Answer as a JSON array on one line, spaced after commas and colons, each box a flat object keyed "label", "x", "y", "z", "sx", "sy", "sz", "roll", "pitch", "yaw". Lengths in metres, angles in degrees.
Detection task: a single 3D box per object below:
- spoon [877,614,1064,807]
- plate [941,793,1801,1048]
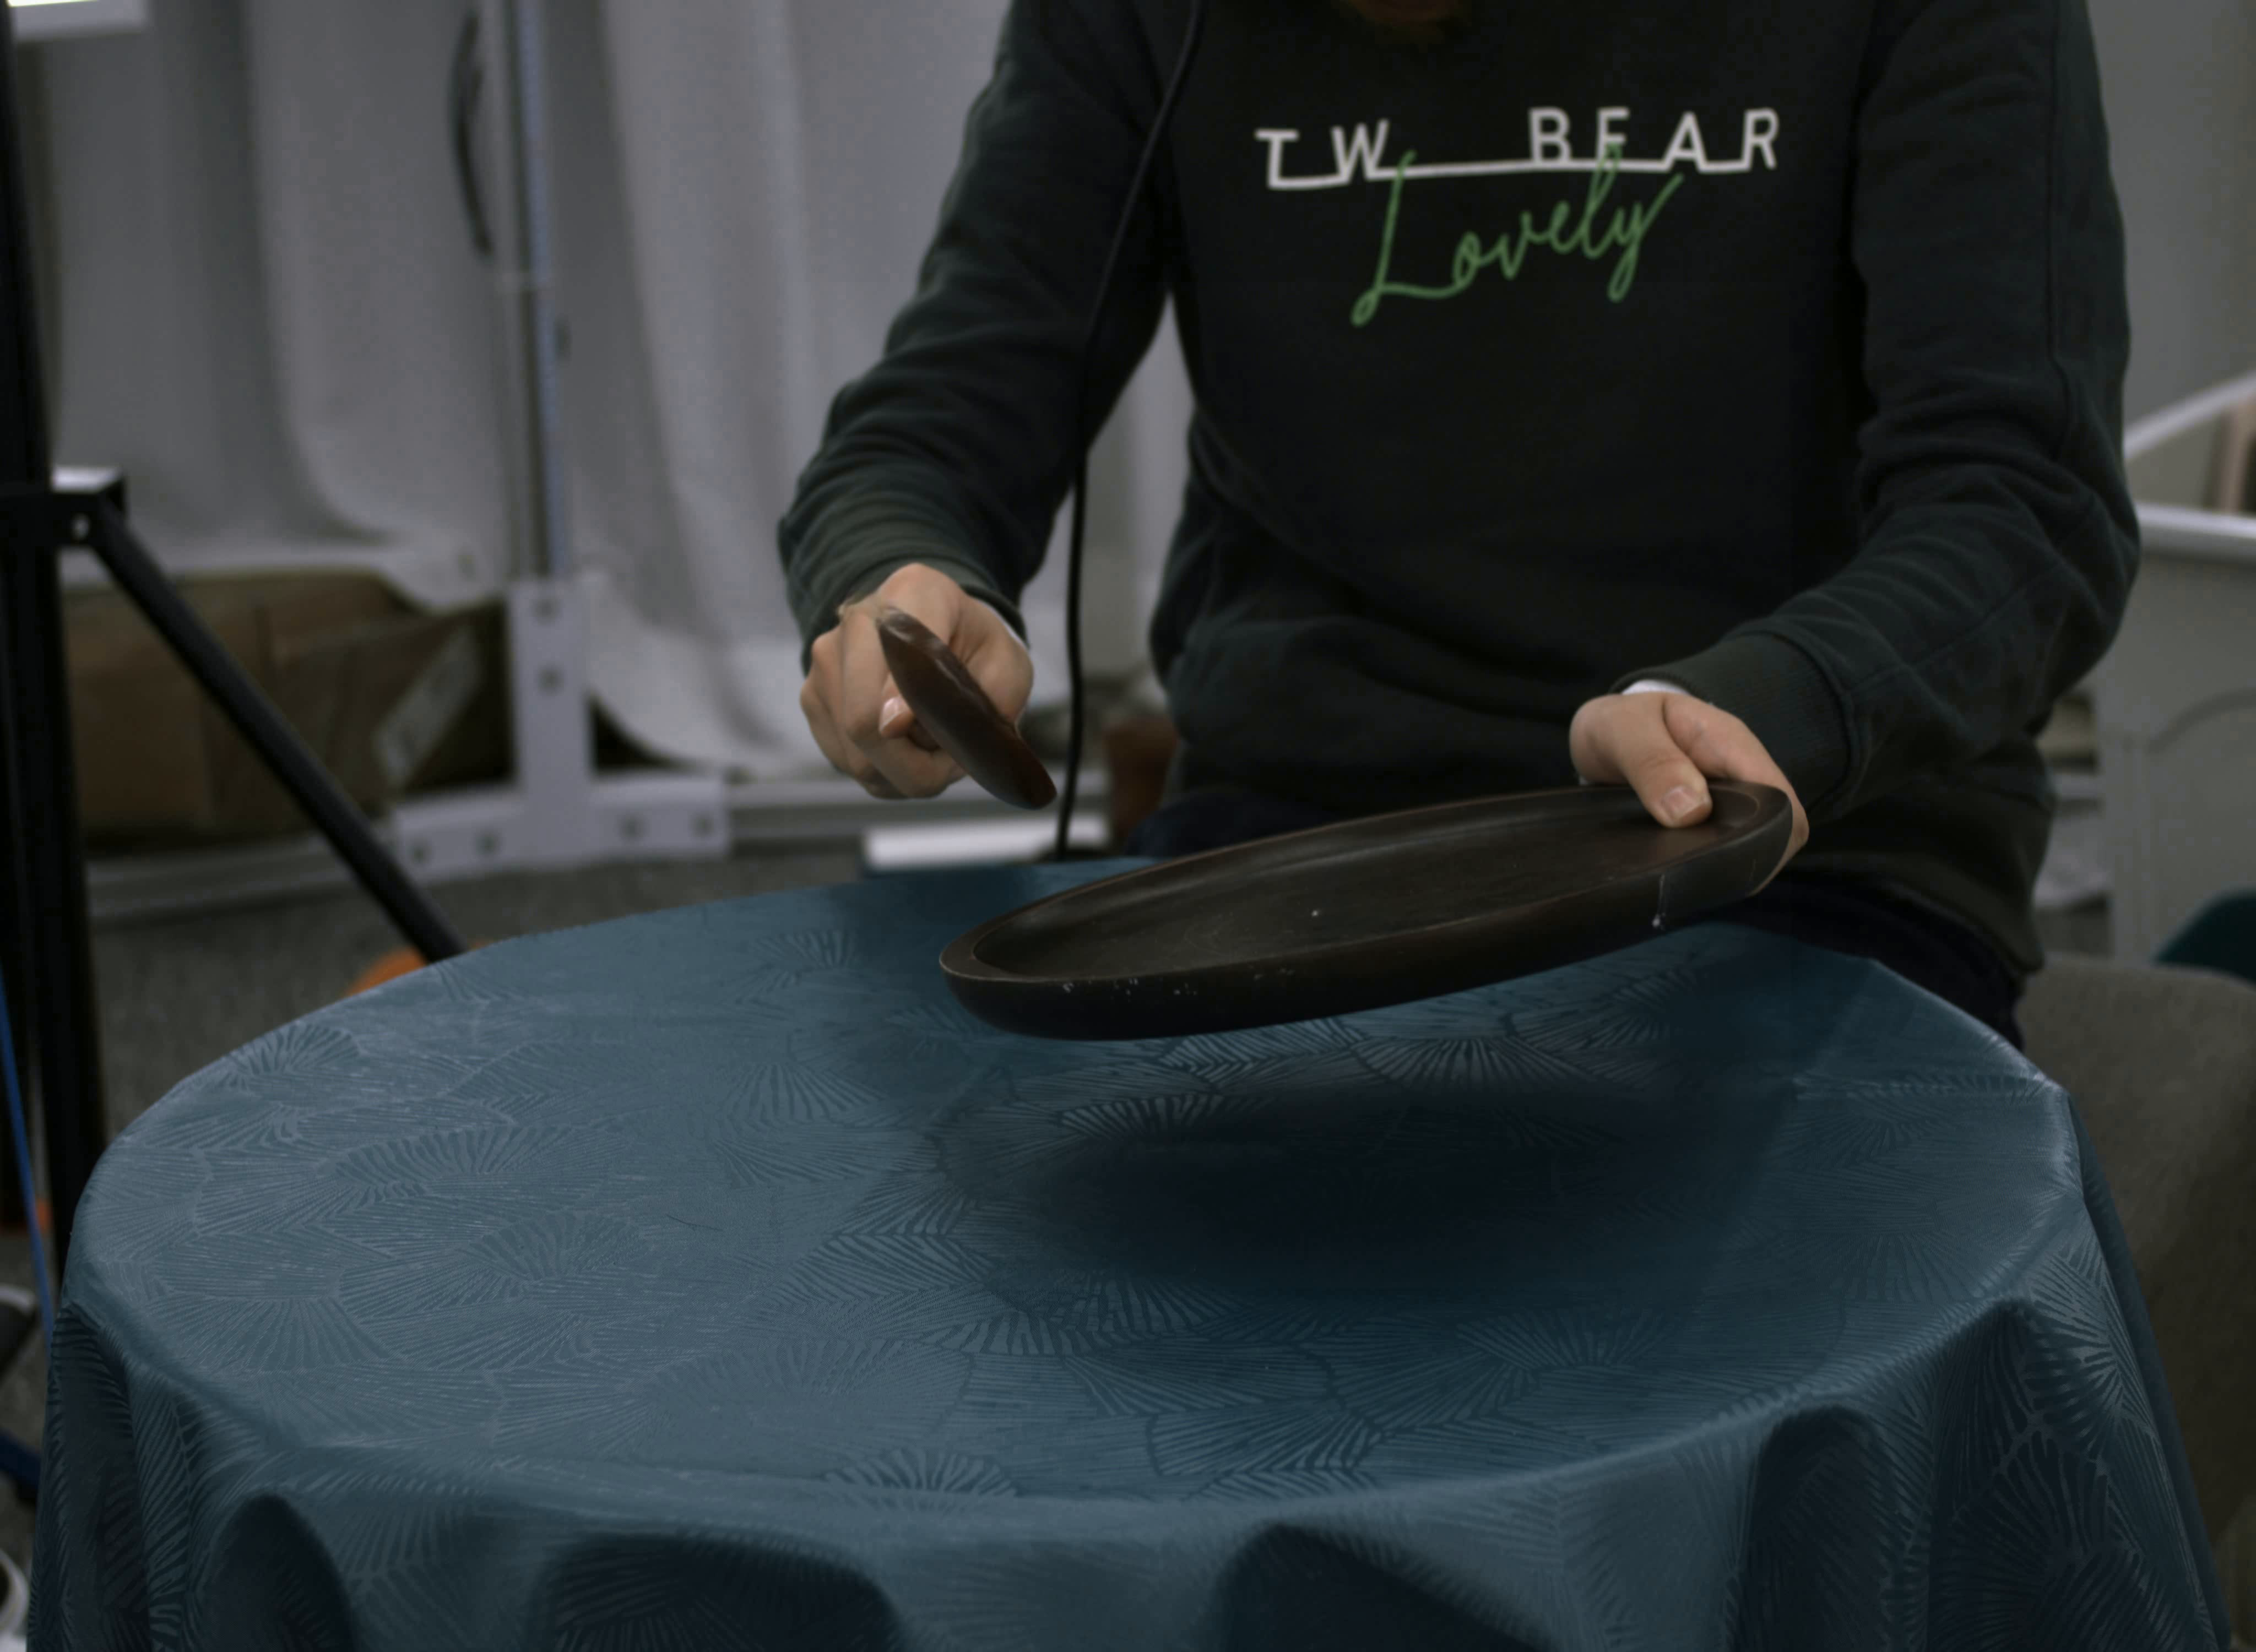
[{"label": "spoon", "x": -0.058, "y": -0.033, "z": 1.637, "sx": 0.017, "sy": 0.075, "sz": 0.217, "roll": -42, "pitch": 6, "yaw": -5}, {"label": "plate", "x": 0.071, "y": 0.025, "z": 1.542, "sx": 0.254, "sy": 0.029, "sz": 0.255, "roll": -11, "pitch": 9, "yaw": 0}]
